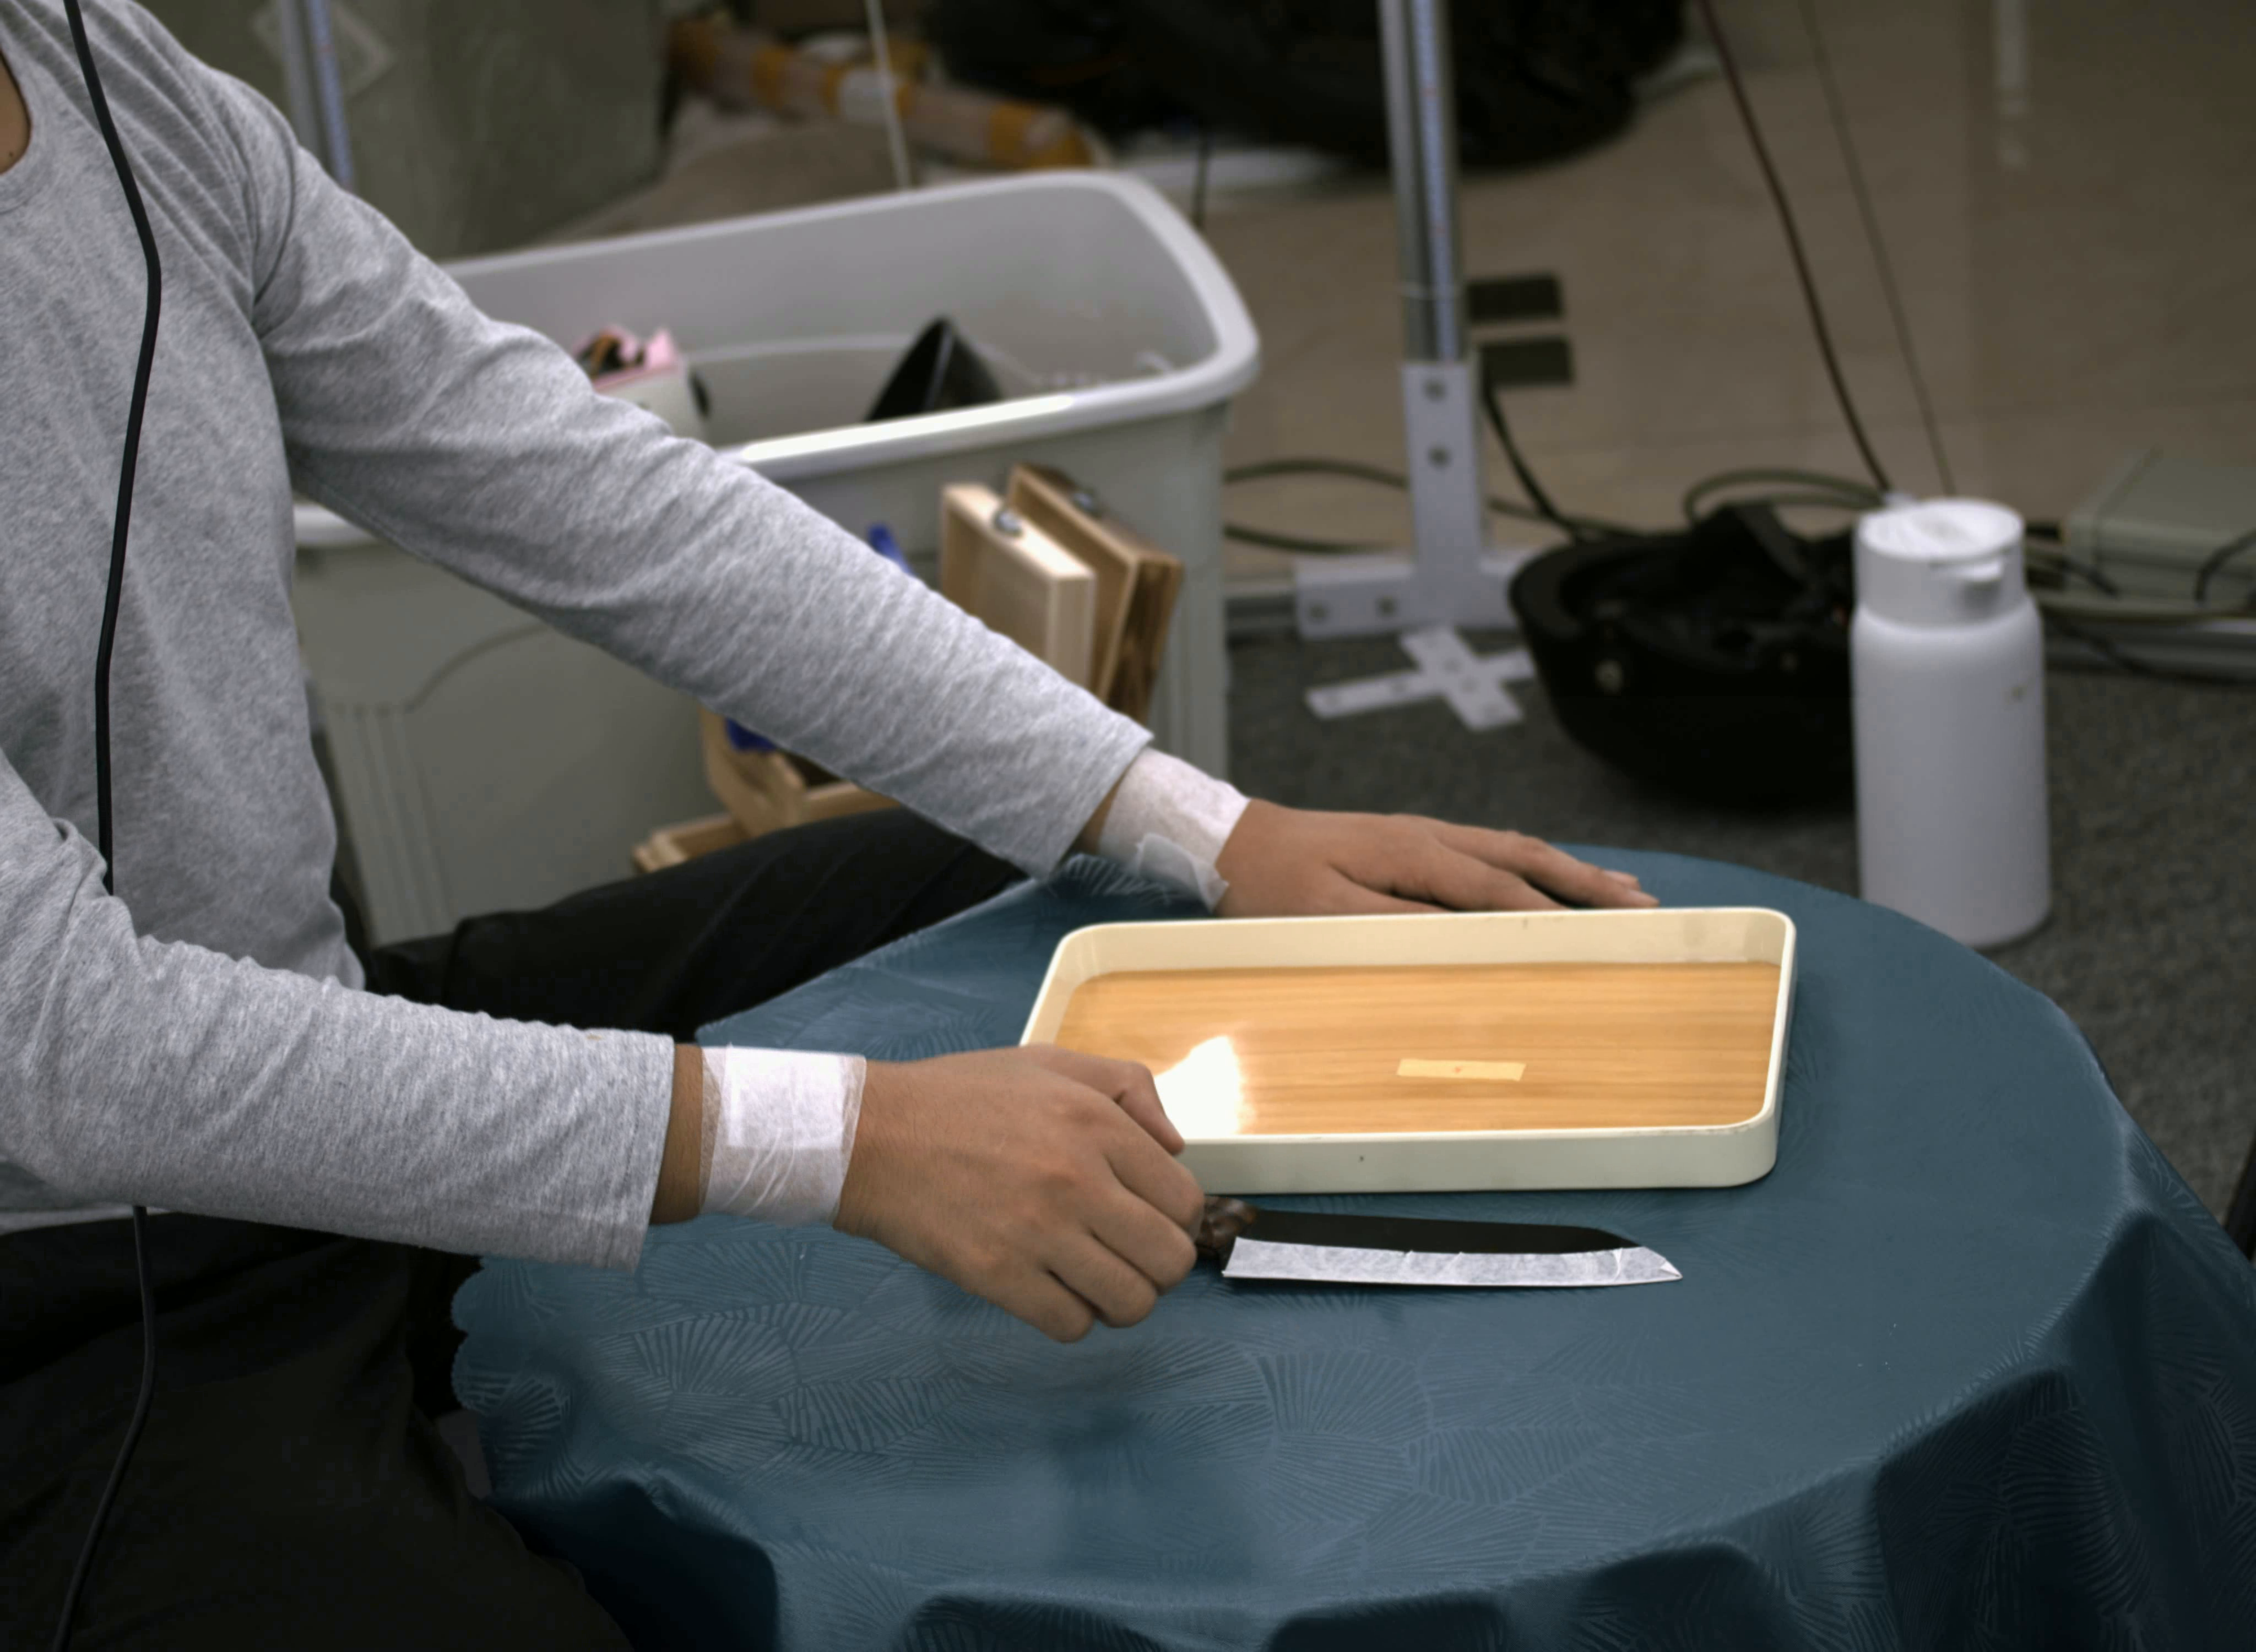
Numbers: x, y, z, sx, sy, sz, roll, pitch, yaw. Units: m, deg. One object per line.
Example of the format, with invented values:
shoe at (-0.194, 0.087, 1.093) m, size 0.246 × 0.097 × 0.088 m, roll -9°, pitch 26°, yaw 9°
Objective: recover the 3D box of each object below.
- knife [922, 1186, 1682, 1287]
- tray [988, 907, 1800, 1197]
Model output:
knife at (0.061, 0.153, 2.088) m, size 0.288 × 0.020 × 0.049 m, roll 3°, pitch 32°, yaw 14°
tray at (0.107, 0.087, 2.206) m, size 0.300 × 0.028 × 0.189 m, roll -2°, pitch 25°, yaw 11°
